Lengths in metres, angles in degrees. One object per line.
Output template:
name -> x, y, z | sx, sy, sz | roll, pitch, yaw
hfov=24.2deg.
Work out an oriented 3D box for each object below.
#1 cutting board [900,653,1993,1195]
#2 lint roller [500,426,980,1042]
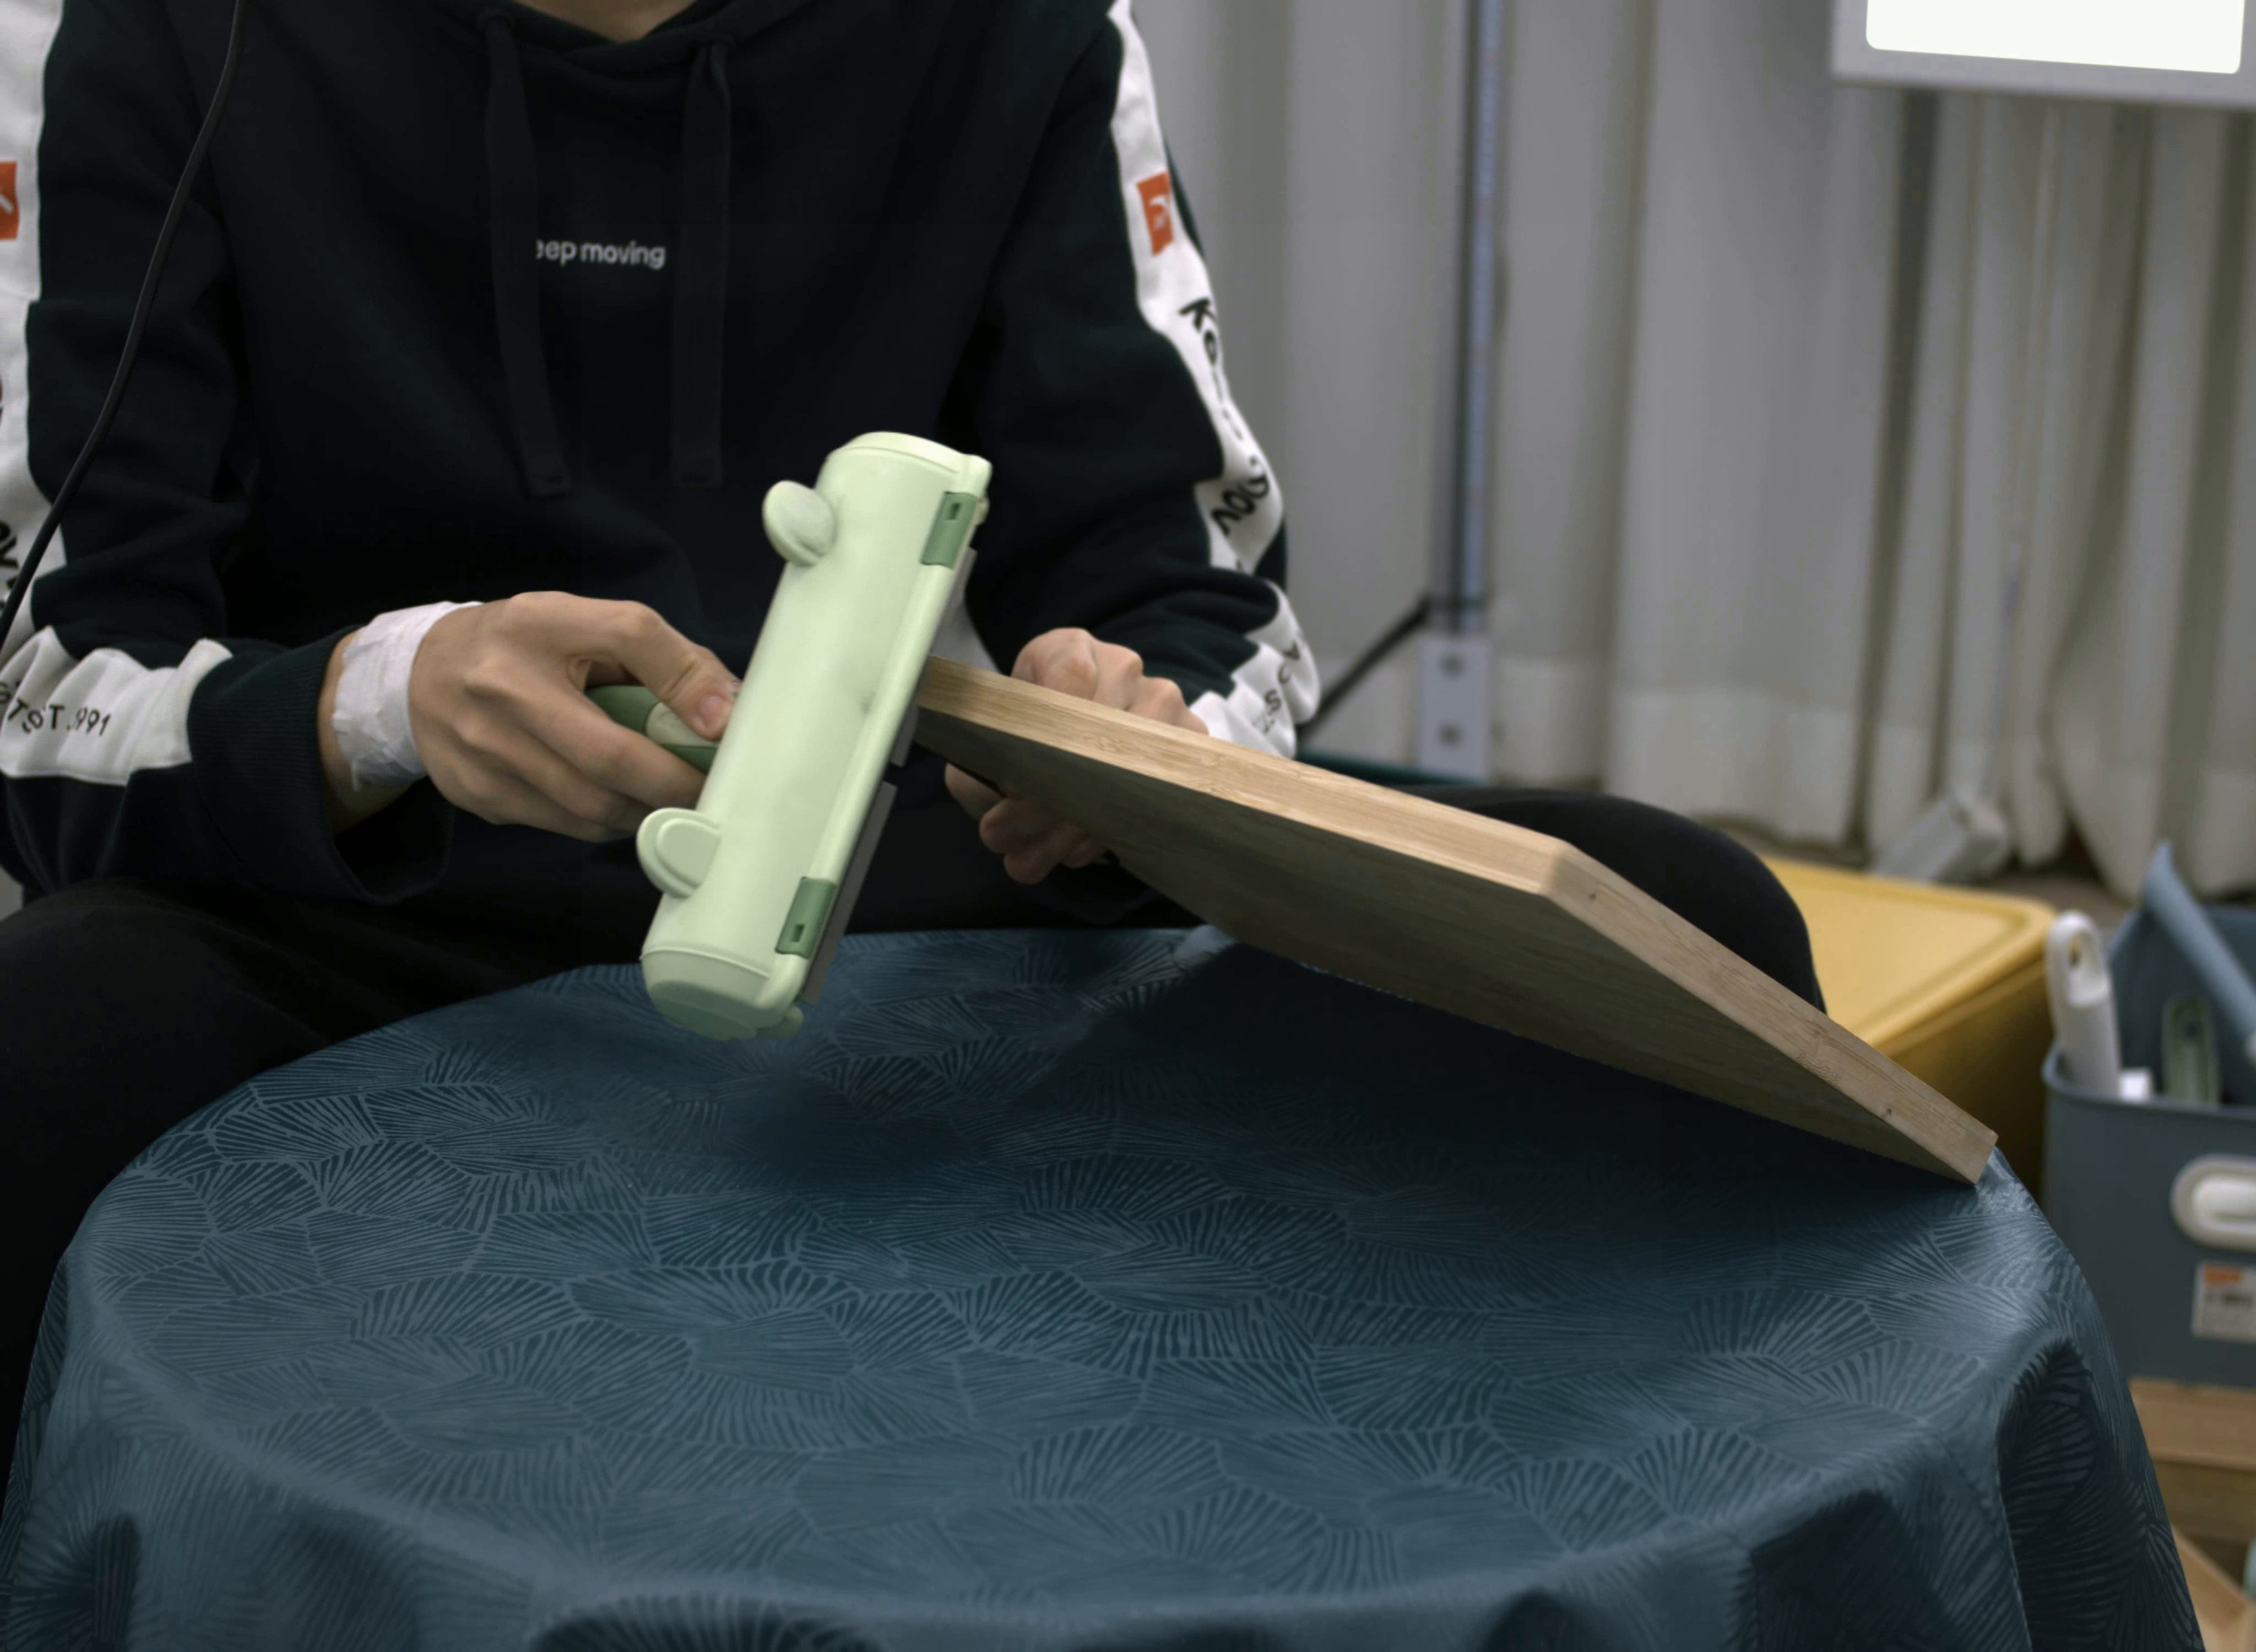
cutting board -> 0.078, 0.023, 1.669 | 0.344, 0.023, 0.254 | 18, -11, 45
lint roller -> -0.146, -0.035, 1.658 | 0.181, 0.198, 0.083 | 4, -23, 35
